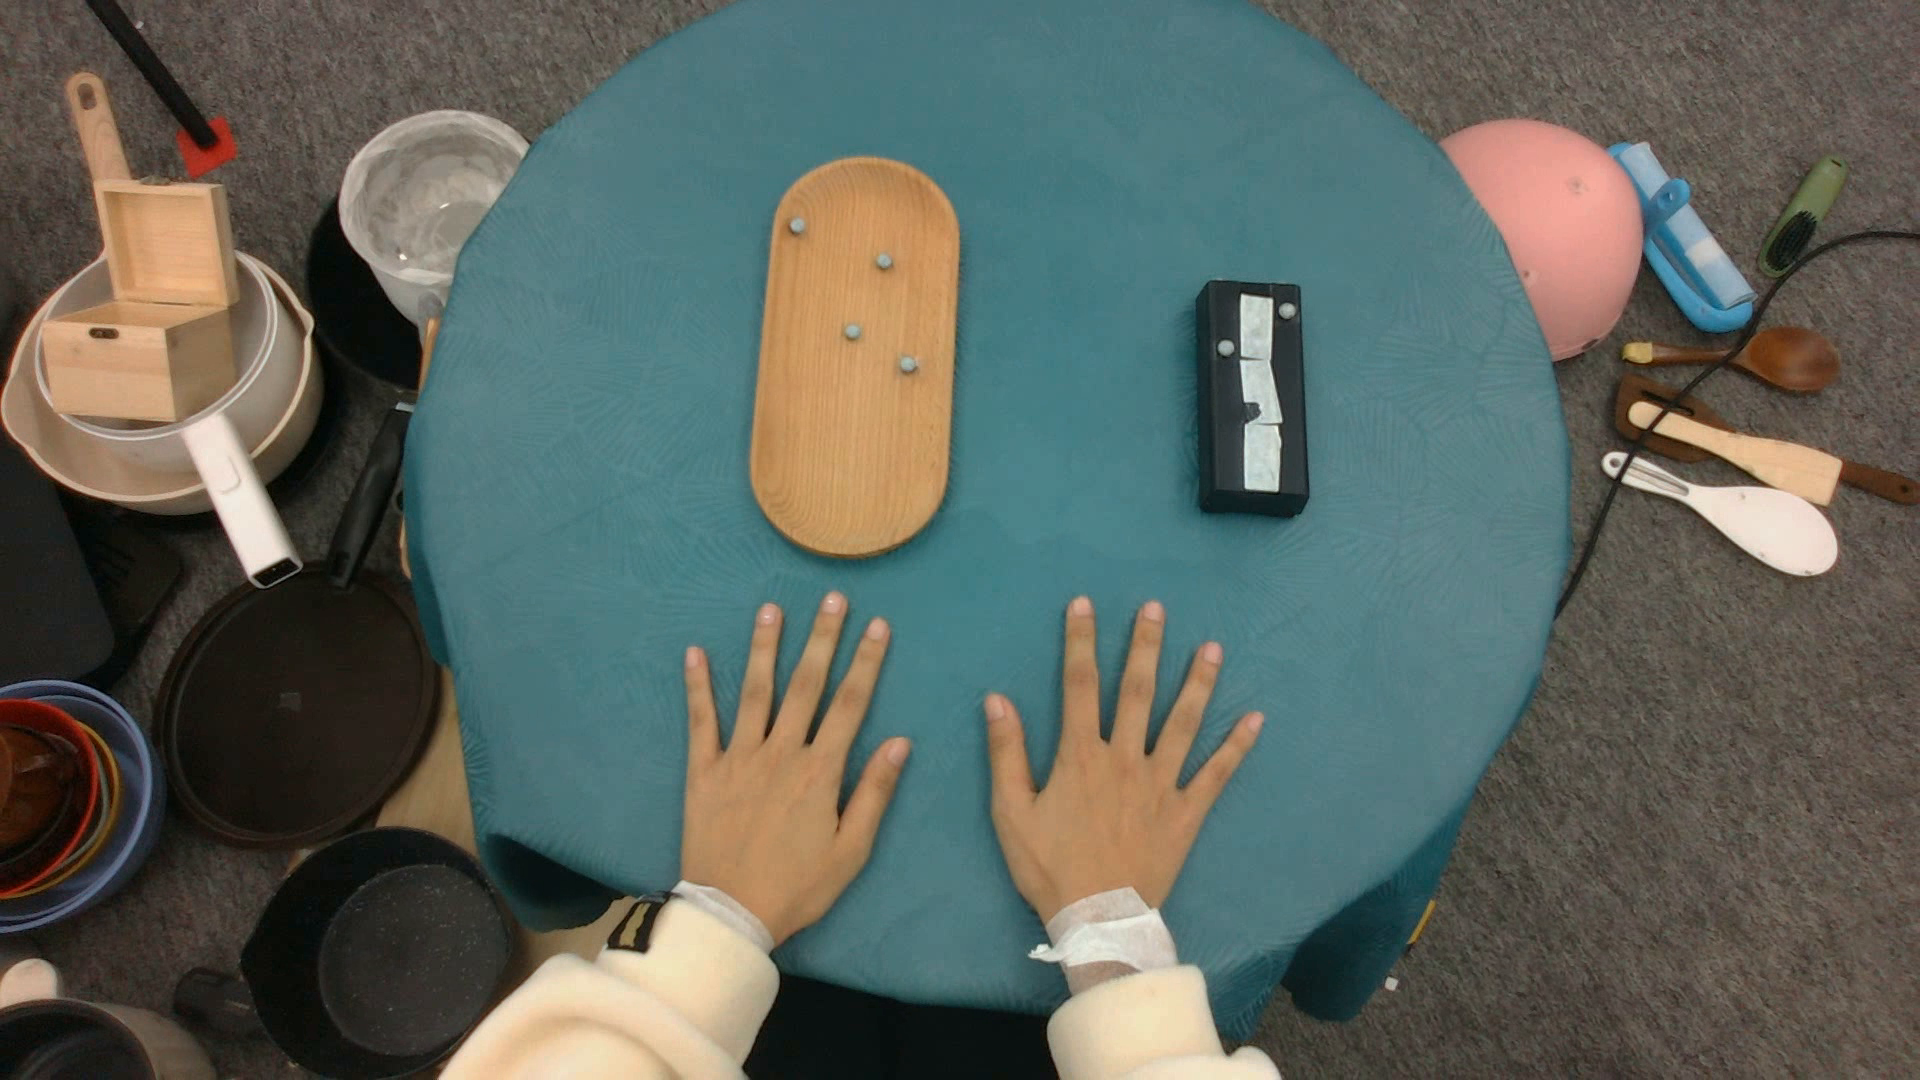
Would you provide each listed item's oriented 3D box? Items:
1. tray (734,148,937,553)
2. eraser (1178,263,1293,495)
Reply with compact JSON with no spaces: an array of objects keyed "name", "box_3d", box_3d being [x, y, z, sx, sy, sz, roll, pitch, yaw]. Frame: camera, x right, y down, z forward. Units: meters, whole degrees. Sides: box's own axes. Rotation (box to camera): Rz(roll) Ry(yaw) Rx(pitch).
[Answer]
[{"name":"tray","box_3d":[-0.063,-0.103,0.718,0.102,0.020,0.232,1,72,-3]},{"name":"eraser","box_3d":[0.142,-0.085,0.719,0.053,0.030,0.126,0,69,2]}]
